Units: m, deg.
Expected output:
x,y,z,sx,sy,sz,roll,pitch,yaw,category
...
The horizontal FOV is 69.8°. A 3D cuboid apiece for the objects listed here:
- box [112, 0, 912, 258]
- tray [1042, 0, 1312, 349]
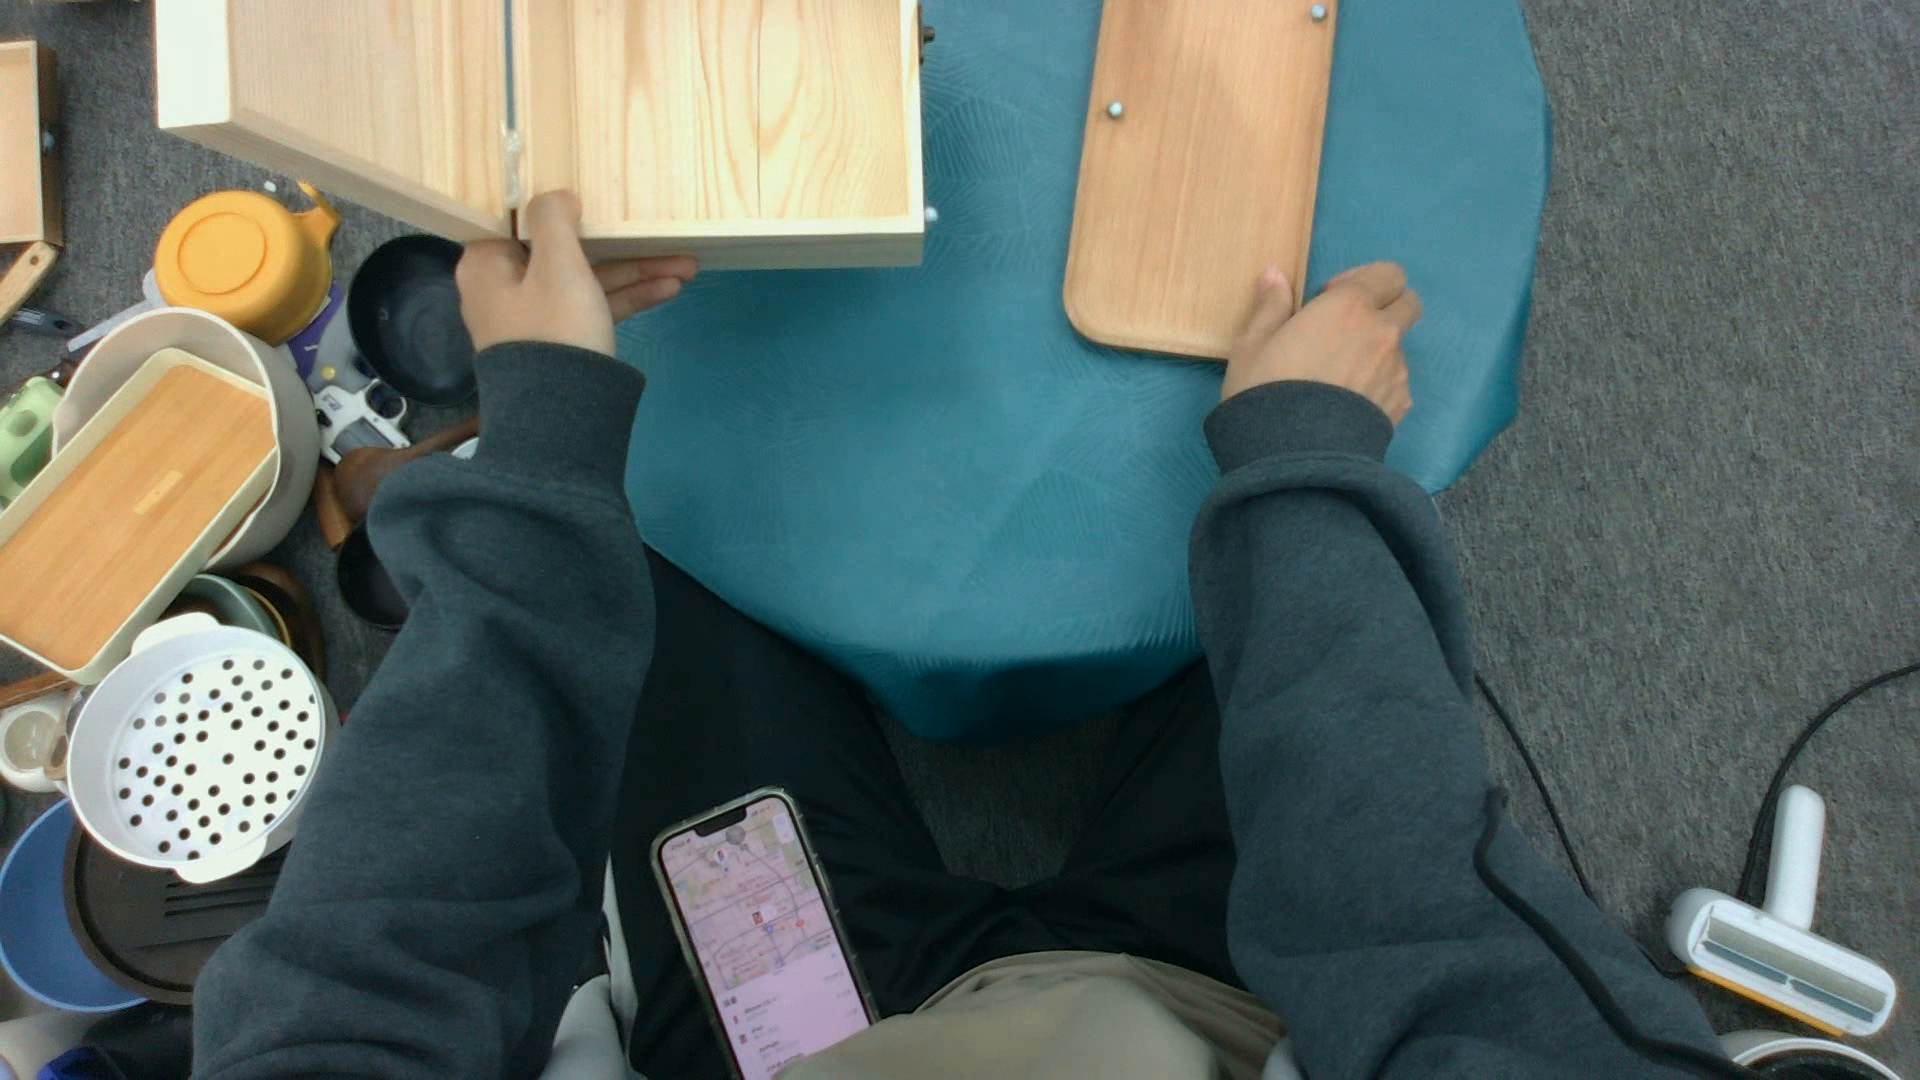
x,y,z,sx,sy,sz,roll,pitch,yaw,category
-0.151,-0.228,0.568,0.265,0.253,0.181,-3,93,-3,box
0.121,-0.228,0.755,0.130,0.023,0.251,7,80,6,tray
